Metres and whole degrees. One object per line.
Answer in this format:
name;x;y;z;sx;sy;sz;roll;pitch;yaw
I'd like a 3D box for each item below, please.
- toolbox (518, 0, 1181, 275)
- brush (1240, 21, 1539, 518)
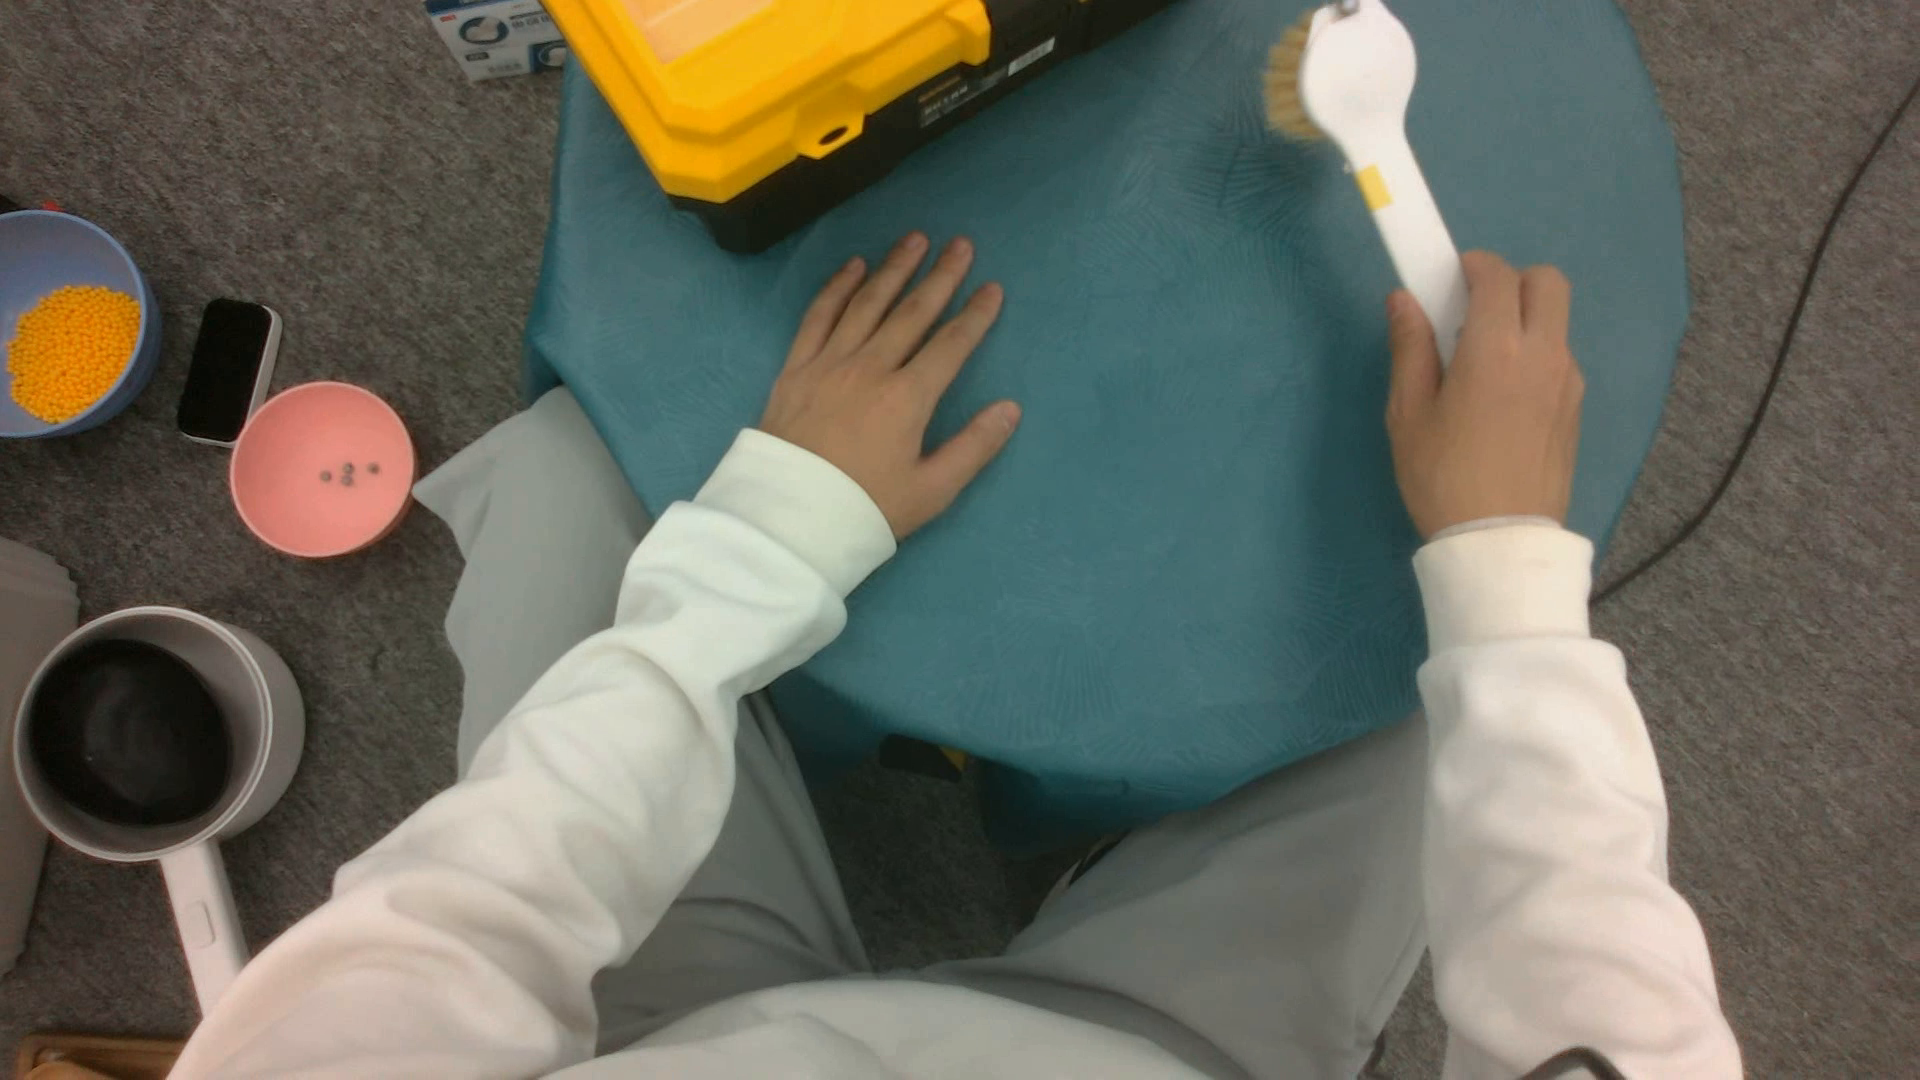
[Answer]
toolbox;-0.021;-0.286;0.671;0.352;0.172;0.181;-34;83;-7
brush;0.219;-0.134;0.692;0.068;0.056;0.266;-26;96;3
